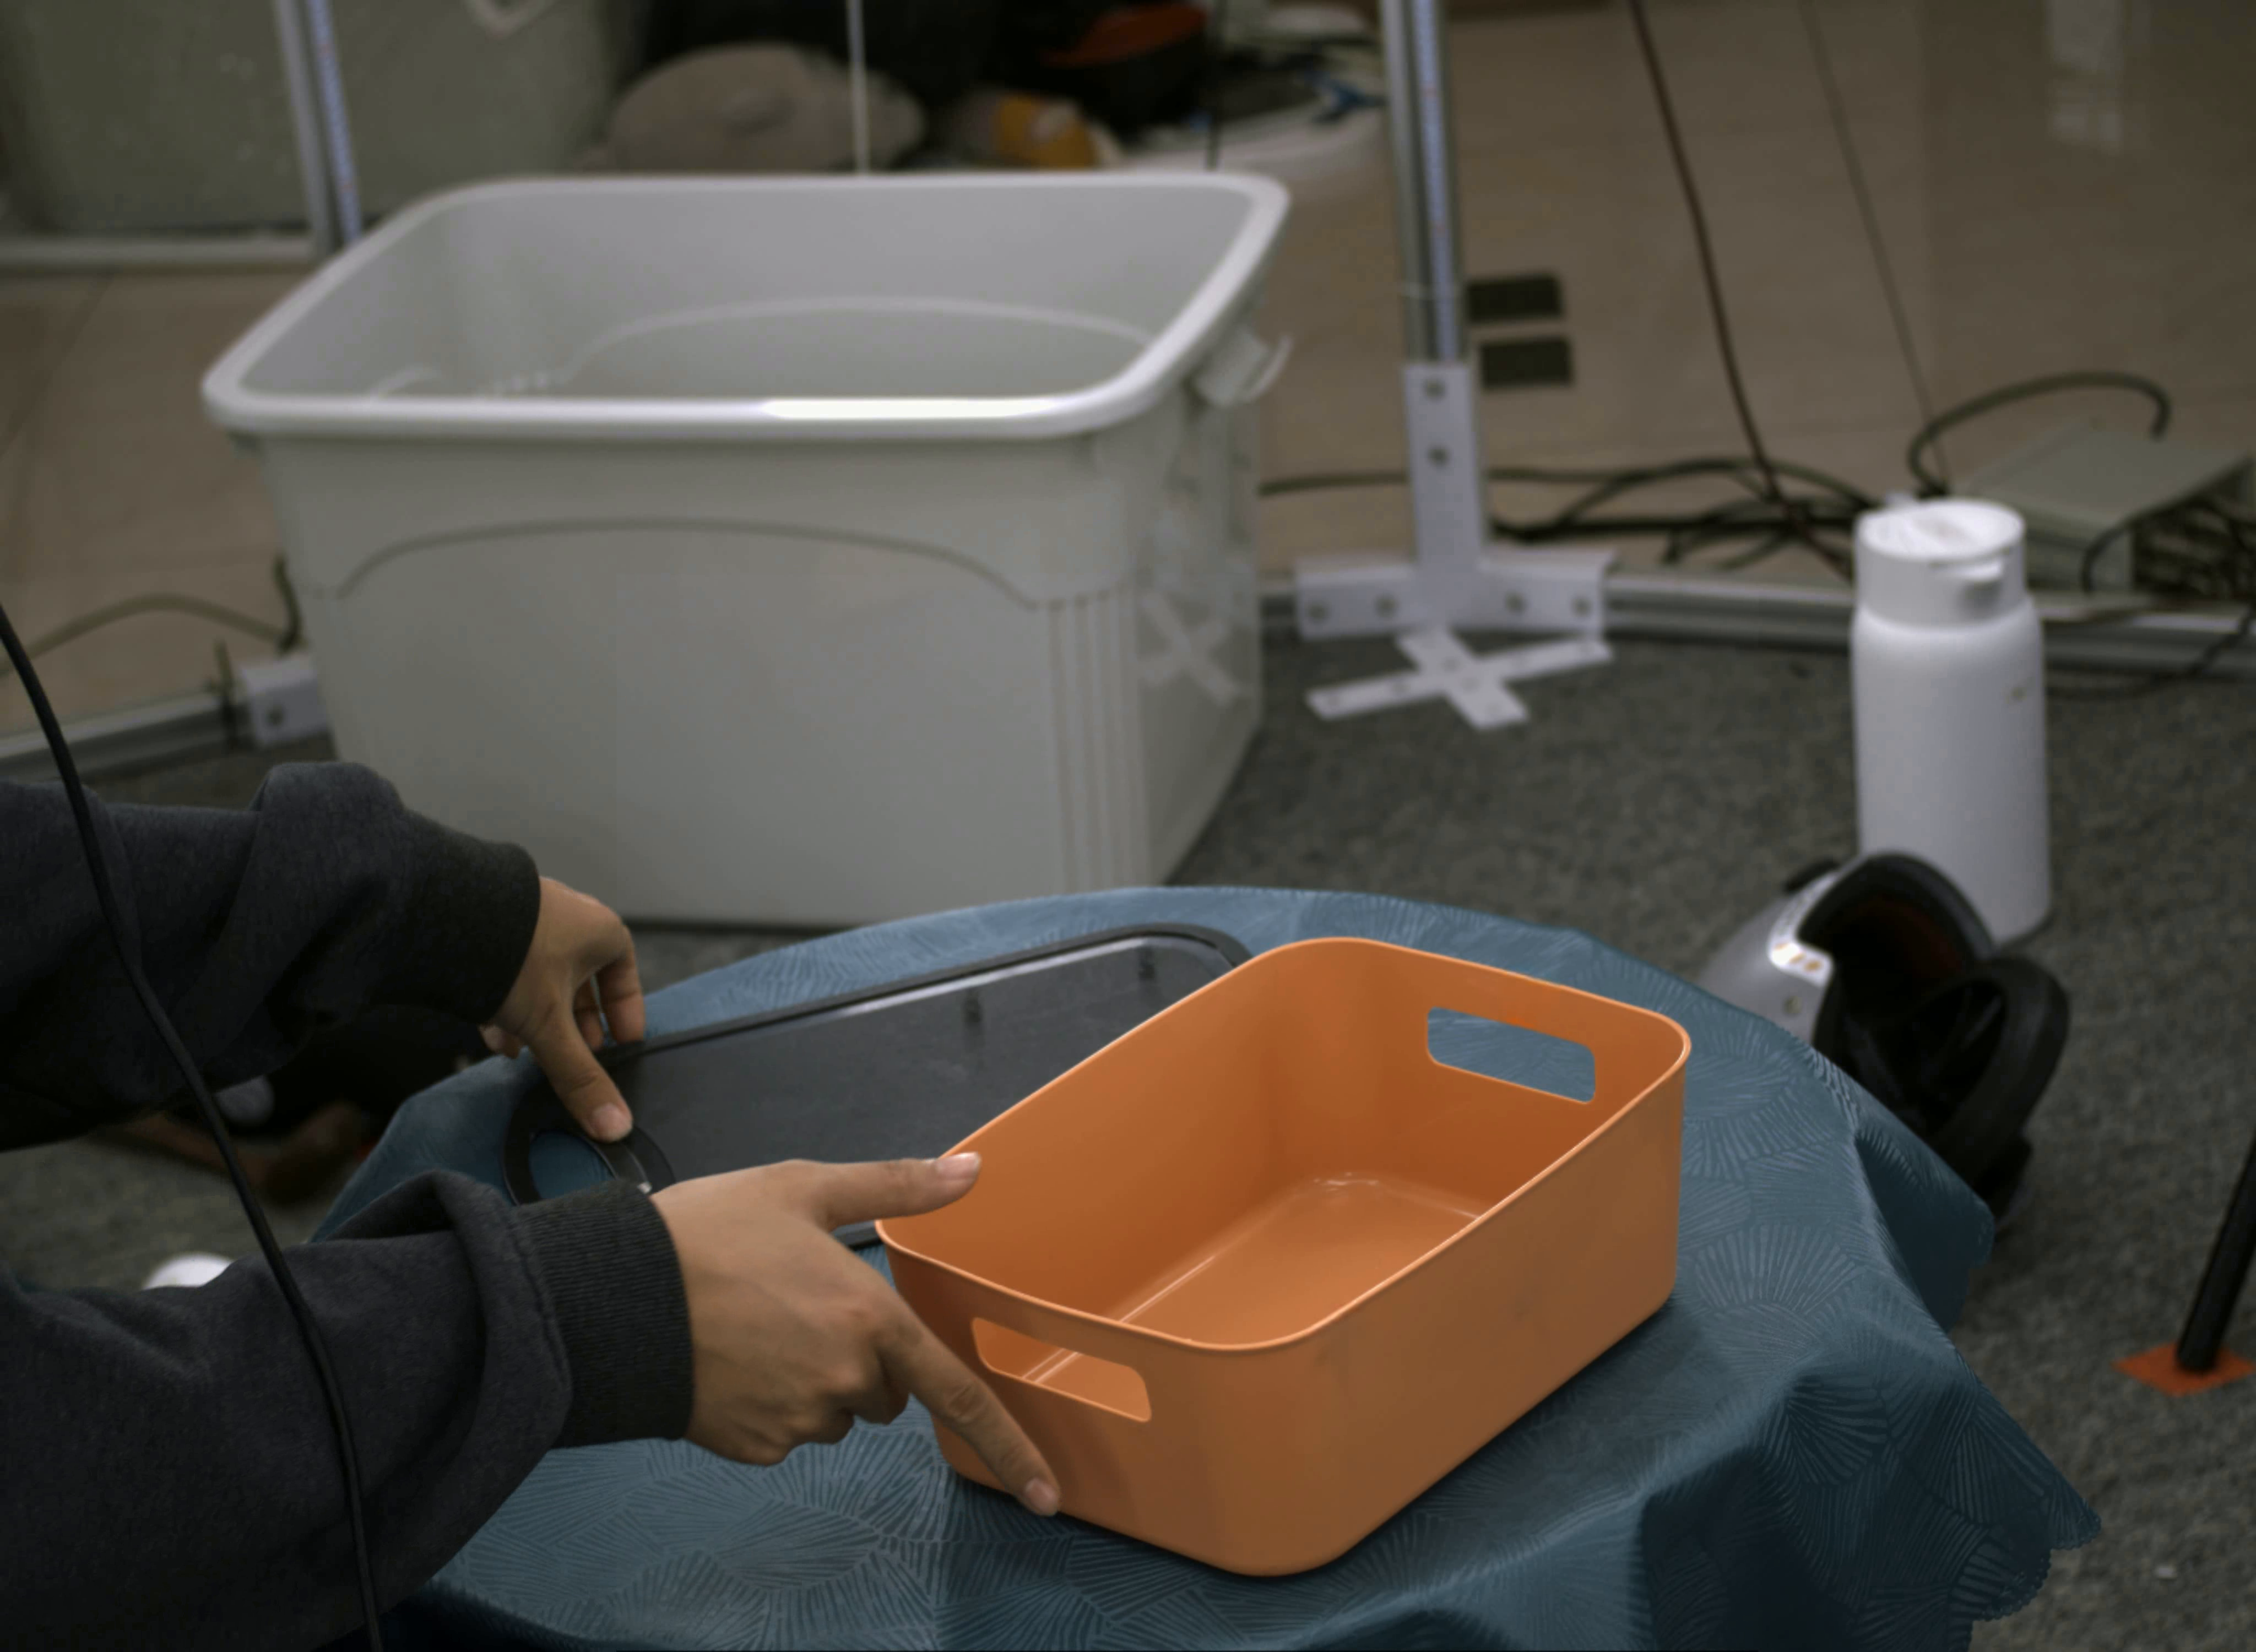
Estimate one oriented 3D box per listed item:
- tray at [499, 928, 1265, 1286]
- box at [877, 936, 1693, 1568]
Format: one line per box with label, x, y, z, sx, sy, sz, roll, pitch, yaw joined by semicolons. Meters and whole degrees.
tray;-0.085;0.108;2.228;0.324;0.010;0.208;-13;25;-14
box;0.060;0.148;1.988;0.198;0.104;0.270;15;32;37
